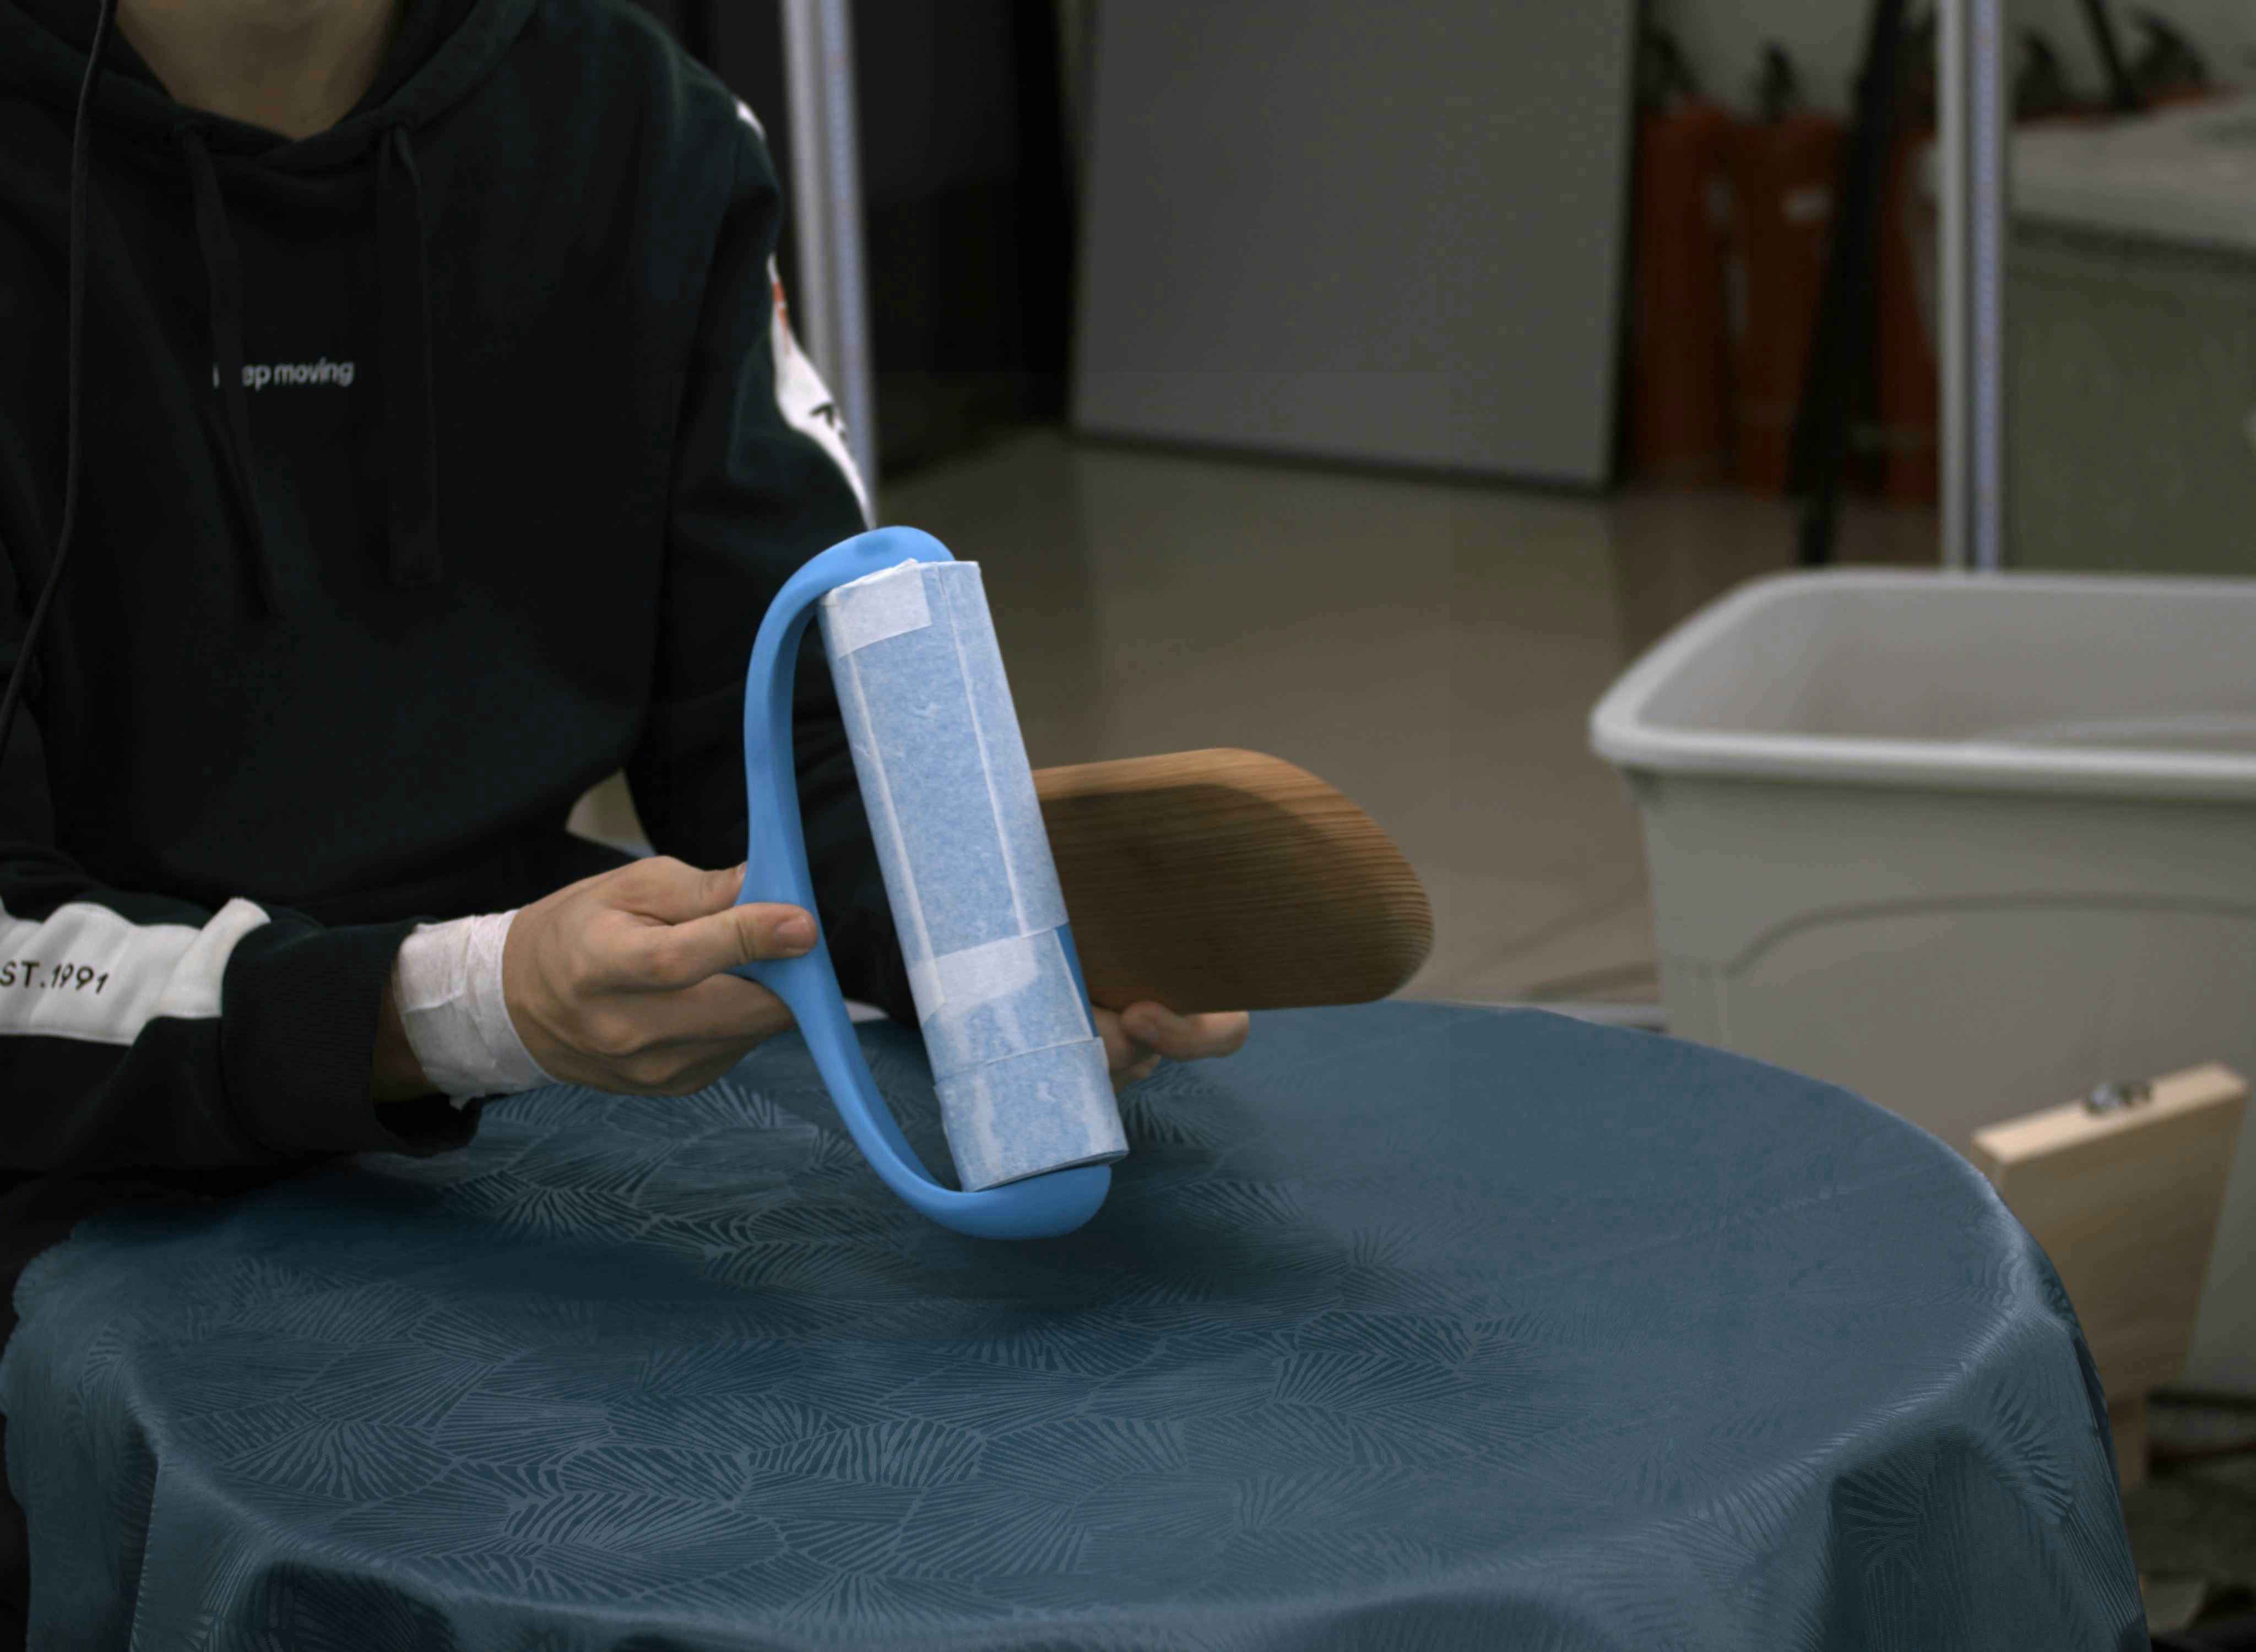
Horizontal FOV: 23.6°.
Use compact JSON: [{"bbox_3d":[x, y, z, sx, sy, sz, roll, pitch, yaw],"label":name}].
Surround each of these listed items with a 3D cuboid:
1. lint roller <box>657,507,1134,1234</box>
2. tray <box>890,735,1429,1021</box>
[{"bbox_3d":[-0.095,0.033,1.700,0.181,0.232,0.066,-24,-12,33],"label":"lint roller"},{"bbox_3d":[0.006,0.020,1.731,0.233,0.101,0.020,-7,32,49],"label":"tray"}]
